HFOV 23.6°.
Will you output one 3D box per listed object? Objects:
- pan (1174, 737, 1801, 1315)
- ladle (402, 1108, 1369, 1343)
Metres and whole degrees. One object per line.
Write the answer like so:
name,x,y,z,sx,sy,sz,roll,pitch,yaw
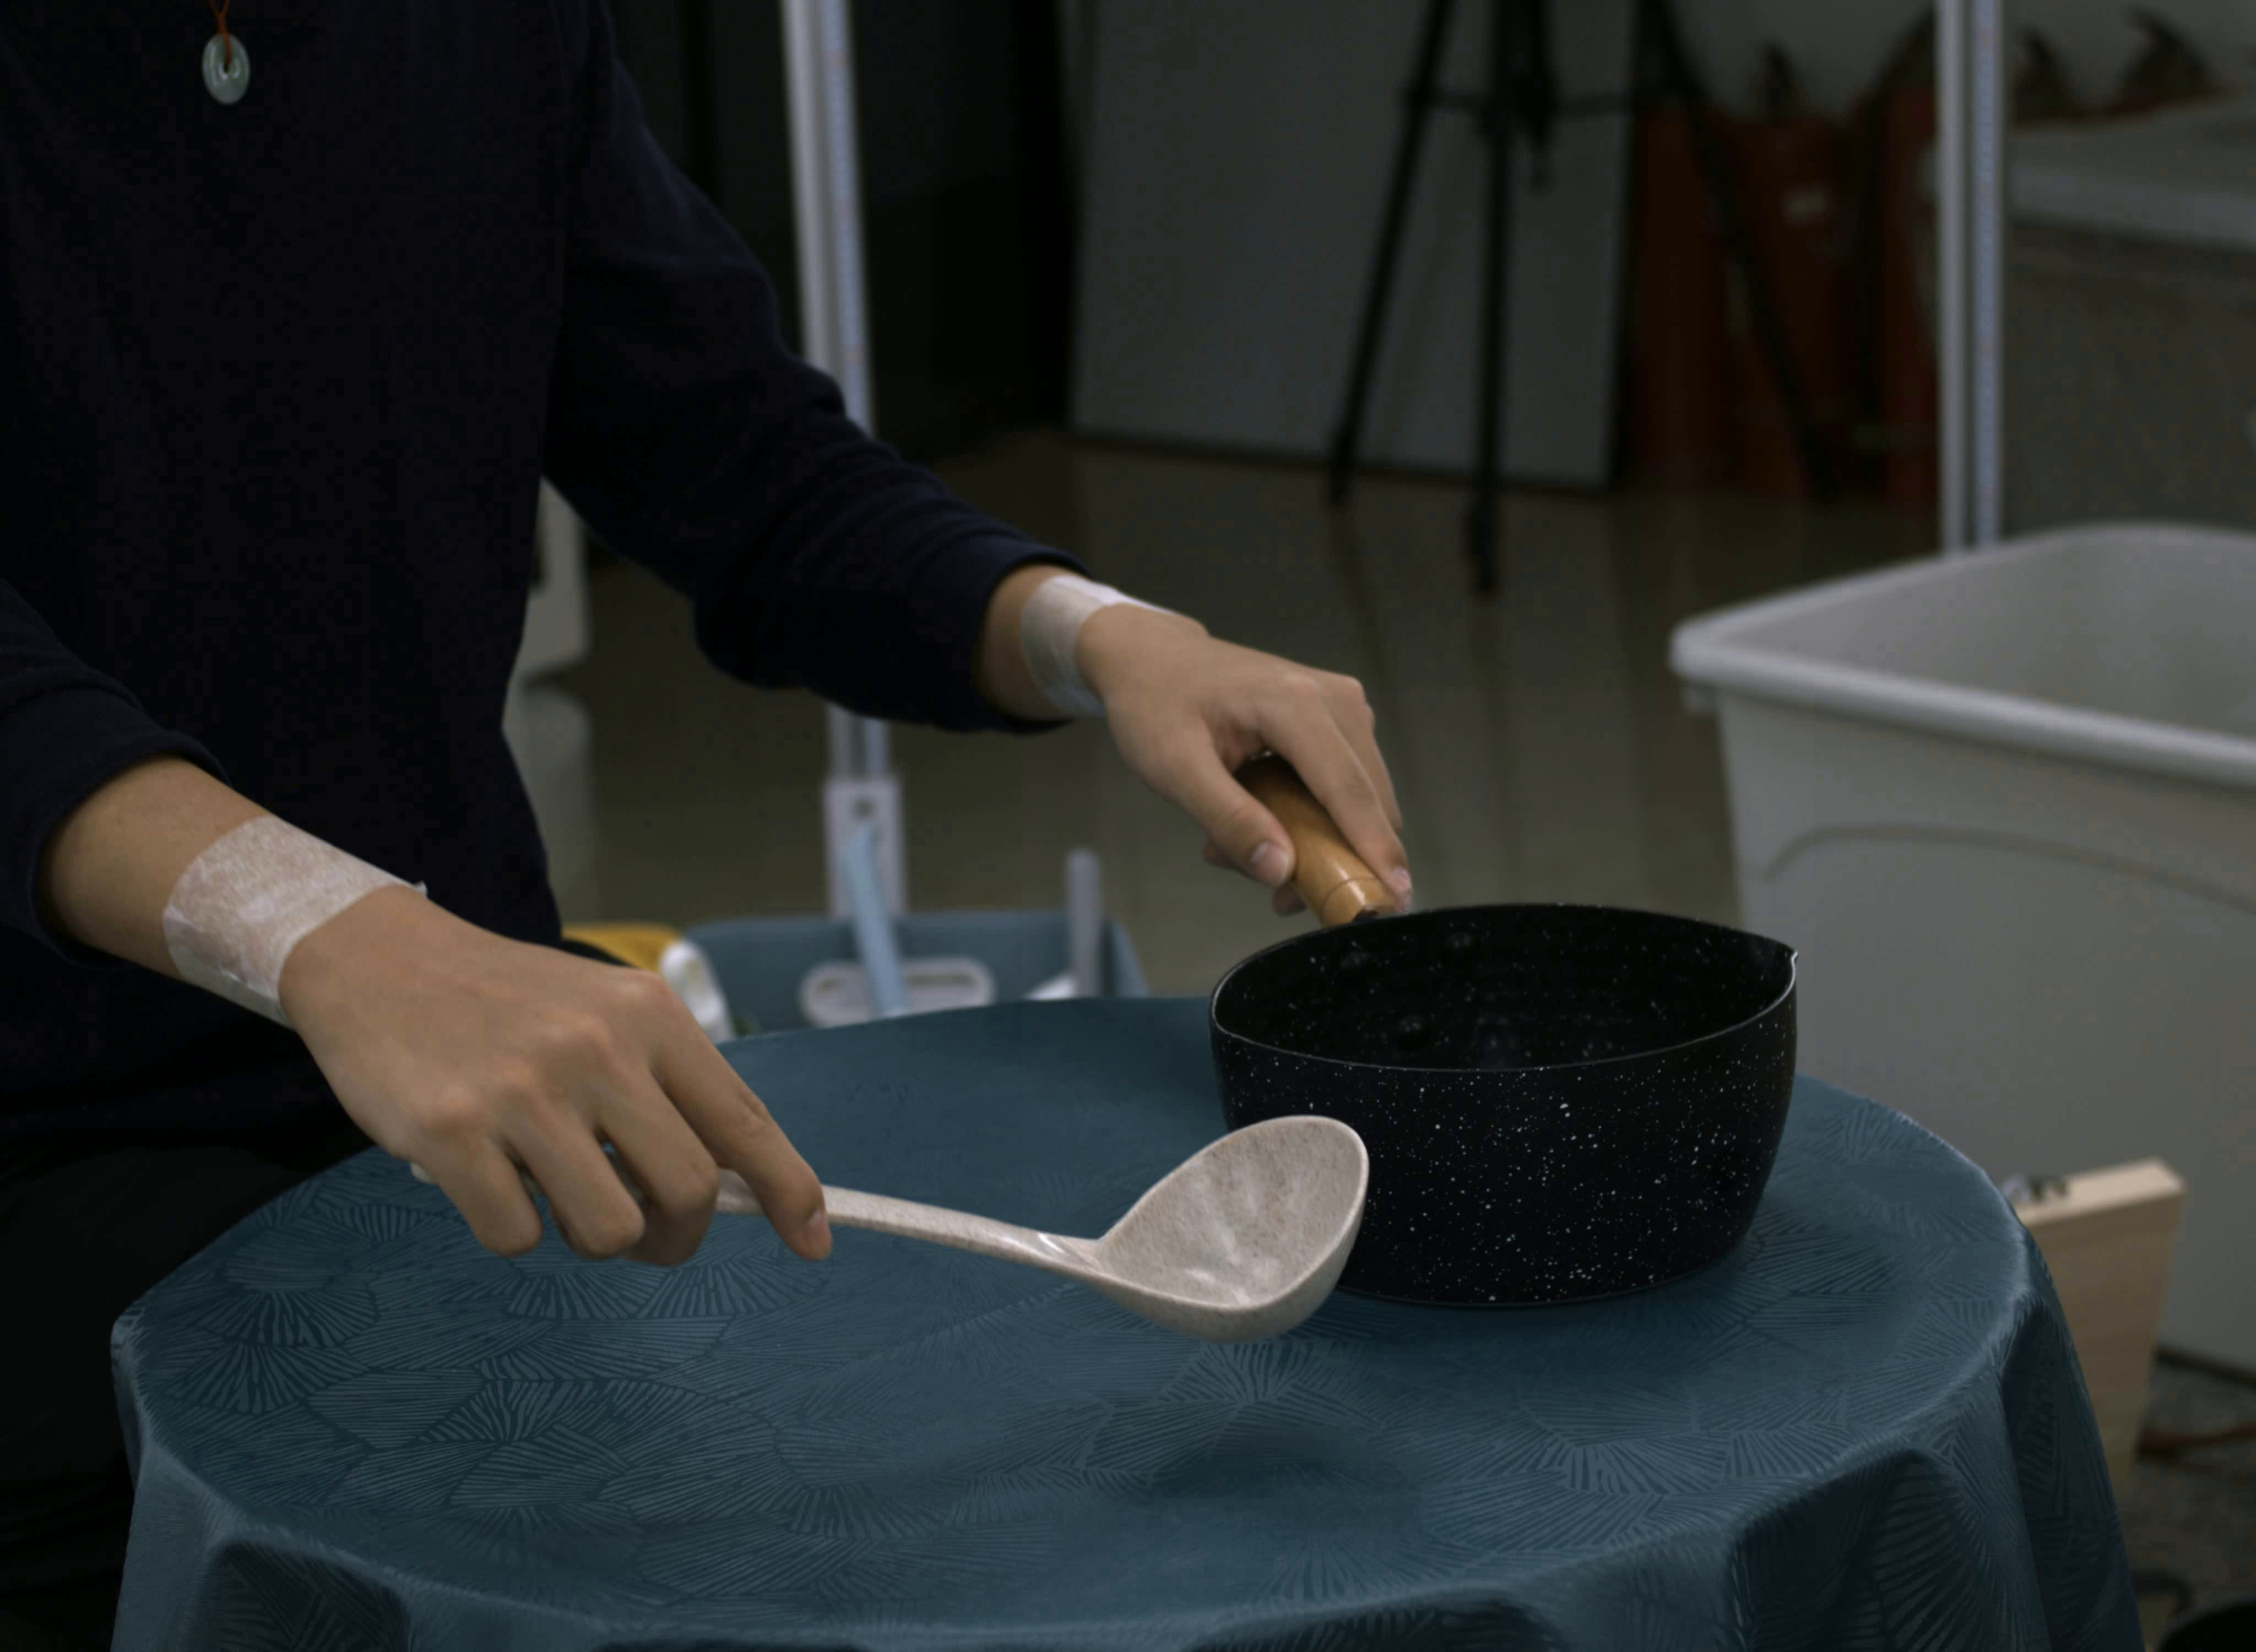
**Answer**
pan,0.094,0.060,1.764,0.203,0.109,0.346,-9,16,-16
ladle,-0.063,0.088,1.495,0.269,0.070,0.090,14,20,-23
